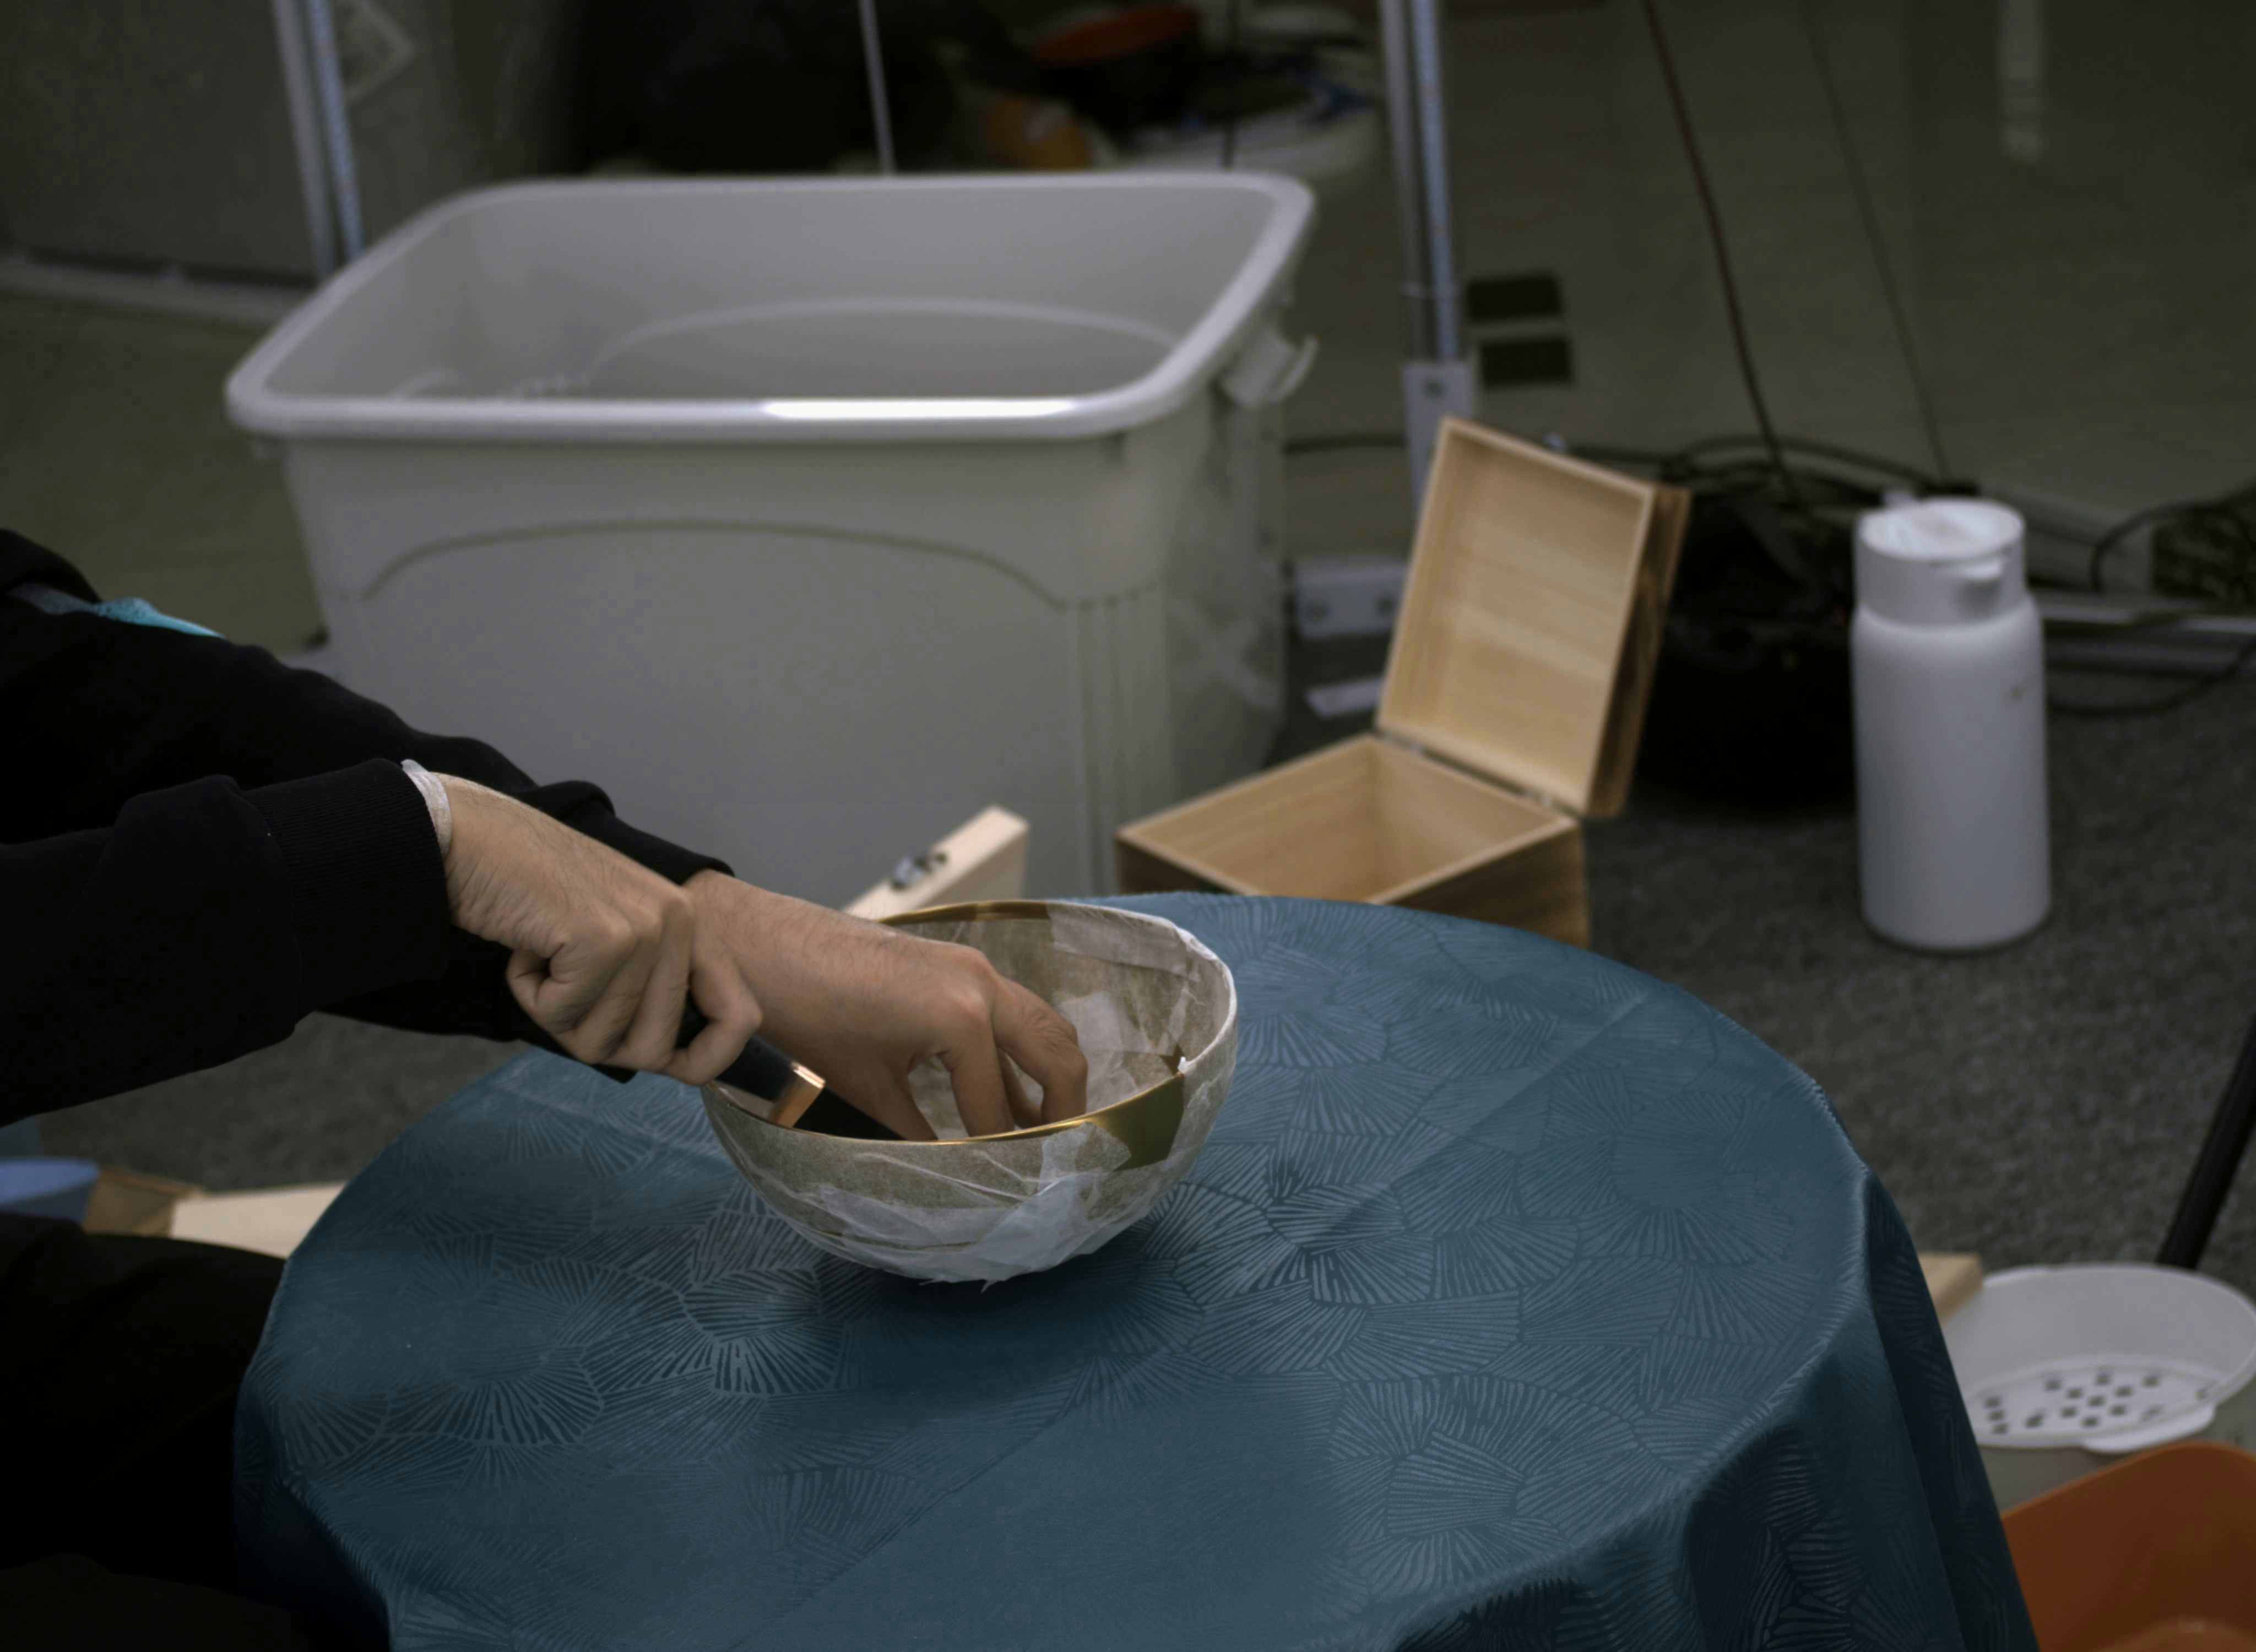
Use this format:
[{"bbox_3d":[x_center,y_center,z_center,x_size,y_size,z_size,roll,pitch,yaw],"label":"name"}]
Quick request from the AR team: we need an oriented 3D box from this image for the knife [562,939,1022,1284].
[{"bbox_3d":[-0.118,0.105,2.056,0.026,0.227,0.017,-52,28,3],"label":"knife"}]

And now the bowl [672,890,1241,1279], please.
[{"bbox_3d":[-0.060,0.109,2.112,0.214,0.096,0.211,-5,26,2],"label":"bowl"}]
